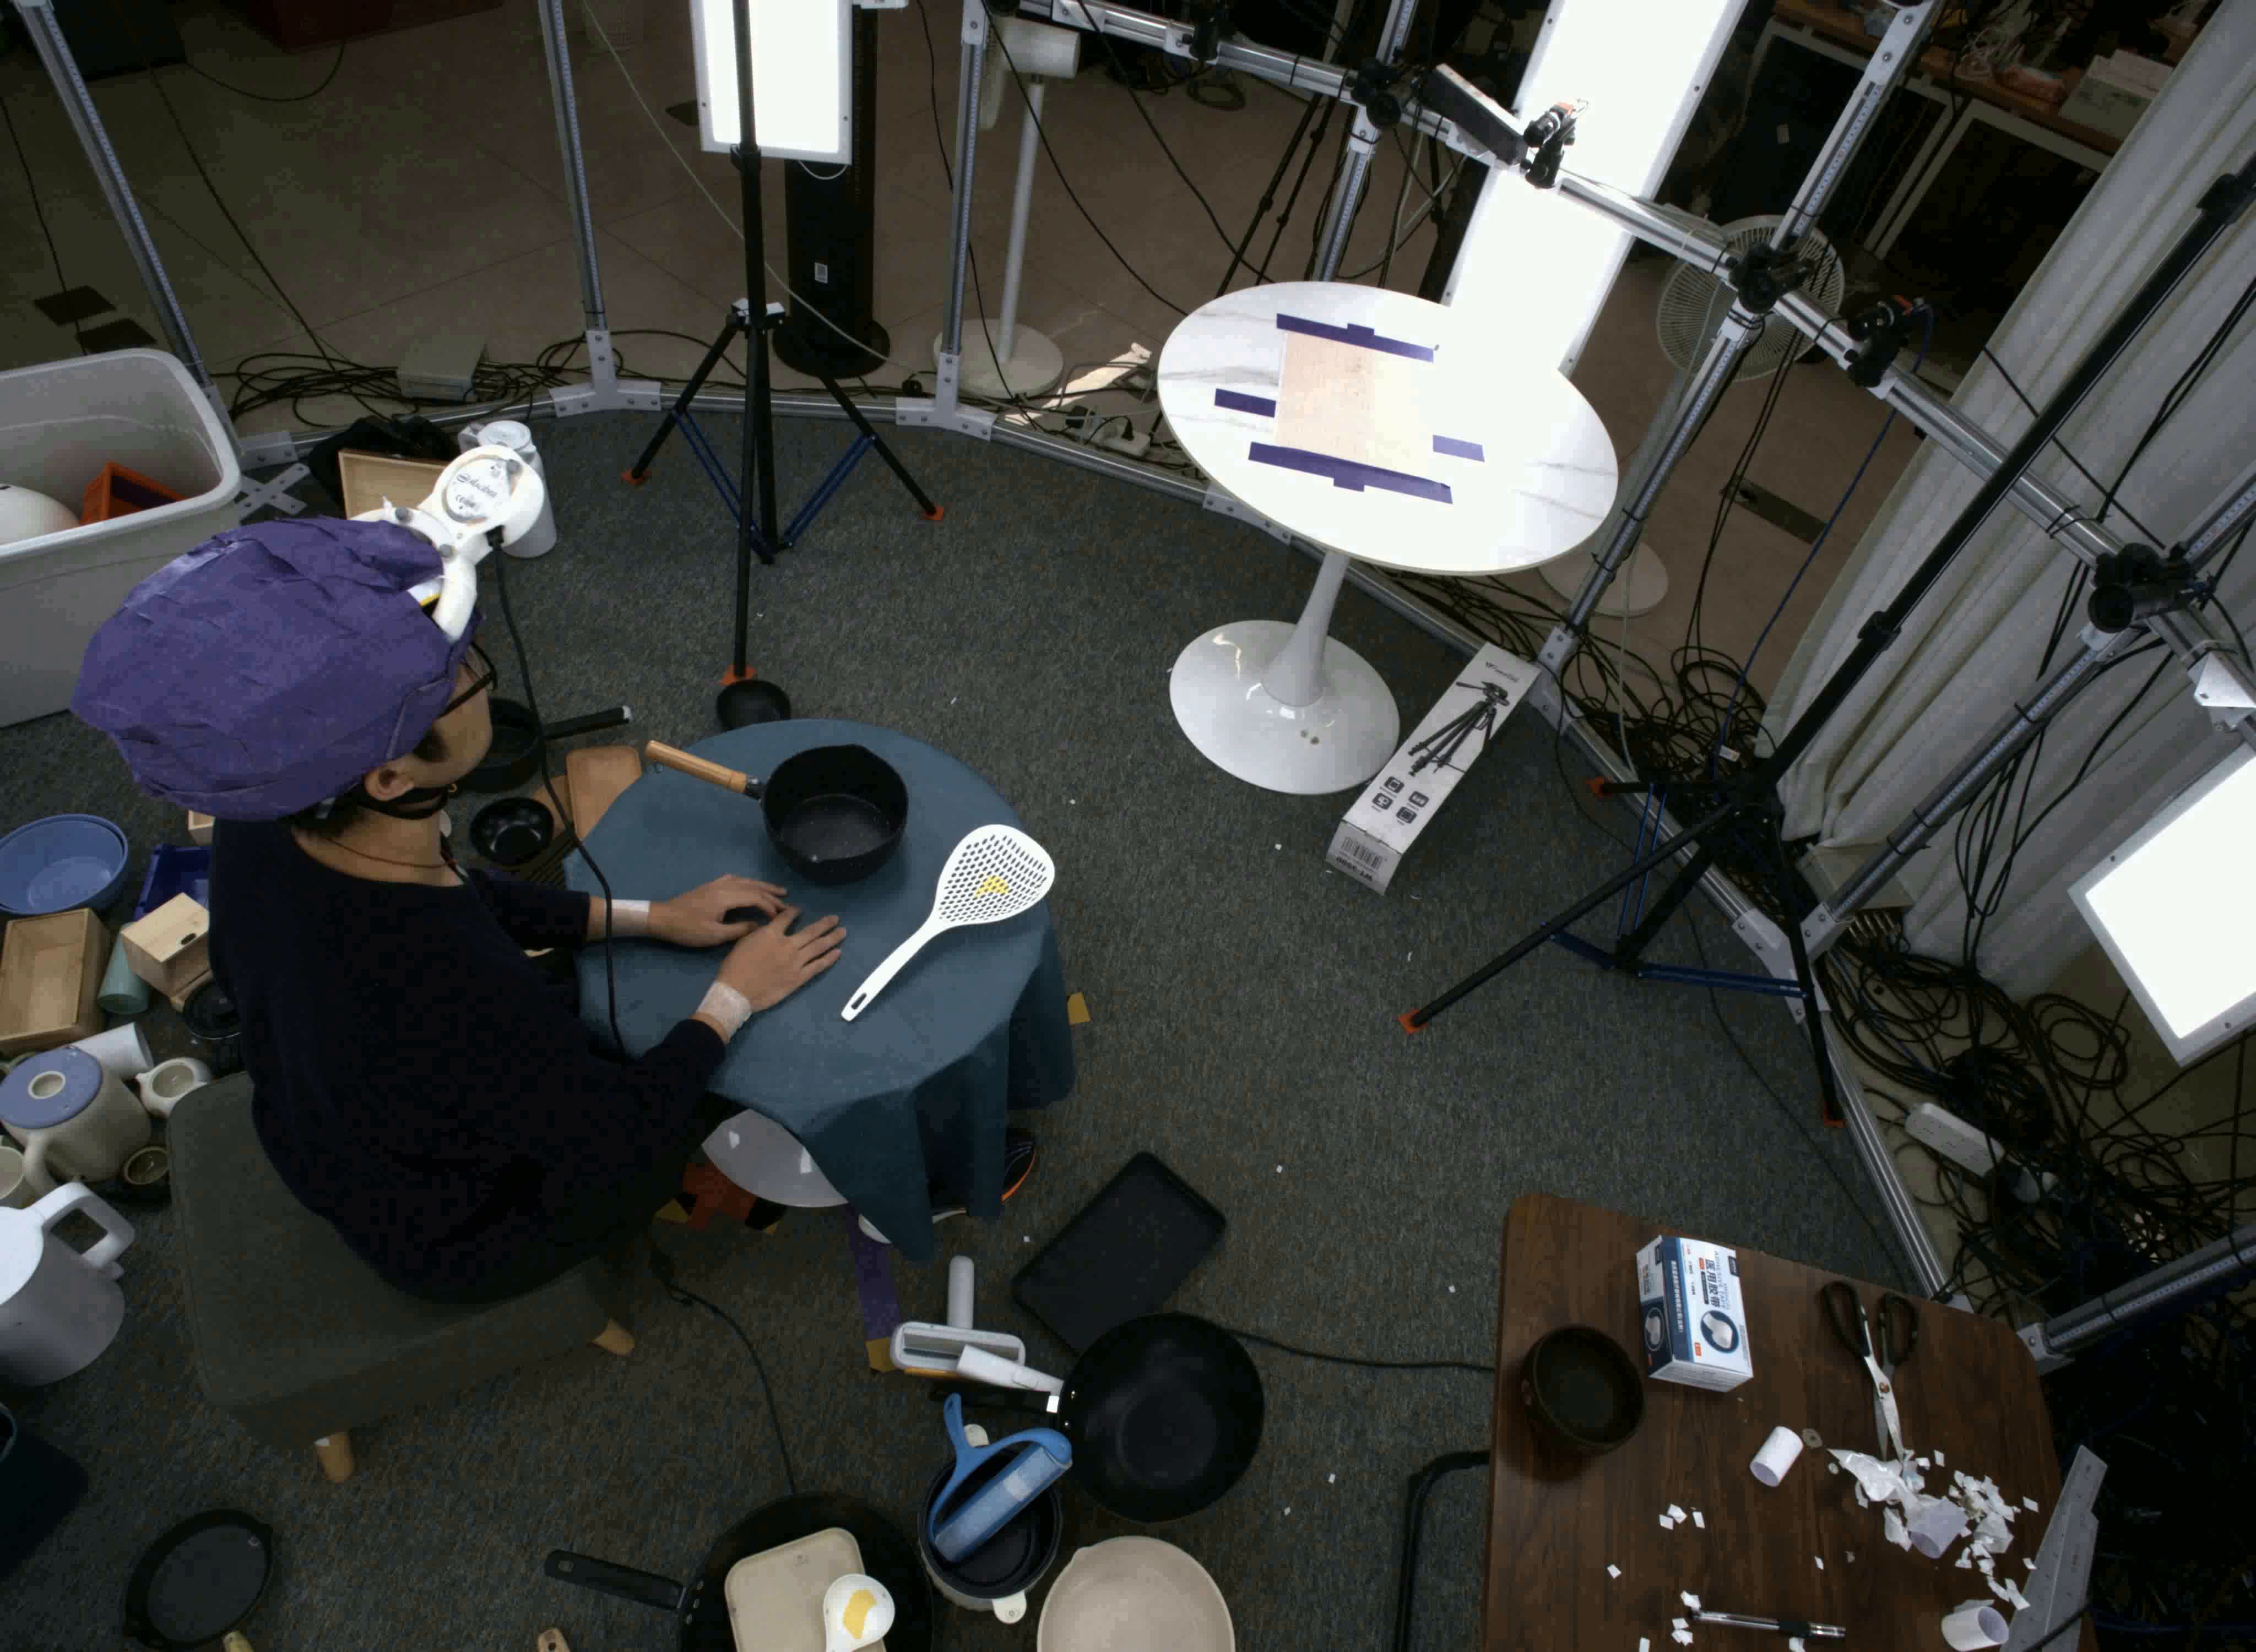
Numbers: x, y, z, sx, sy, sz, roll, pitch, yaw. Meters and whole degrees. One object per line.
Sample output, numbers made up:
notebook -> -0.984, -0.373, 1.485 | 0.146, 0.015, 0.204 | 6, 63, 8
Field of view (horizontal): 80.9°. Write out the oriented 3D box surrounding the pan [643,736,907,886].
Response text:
pan -> -0.455, -0.034, 1.661 | 0.342, 0.110, 0.204 | 13, 52, -6

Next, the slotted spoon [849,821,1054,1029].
slotted spoon -> -0.233, 0.123, 1.645 | 0.134, 0.051, 0.348 | 37, 52, 12
